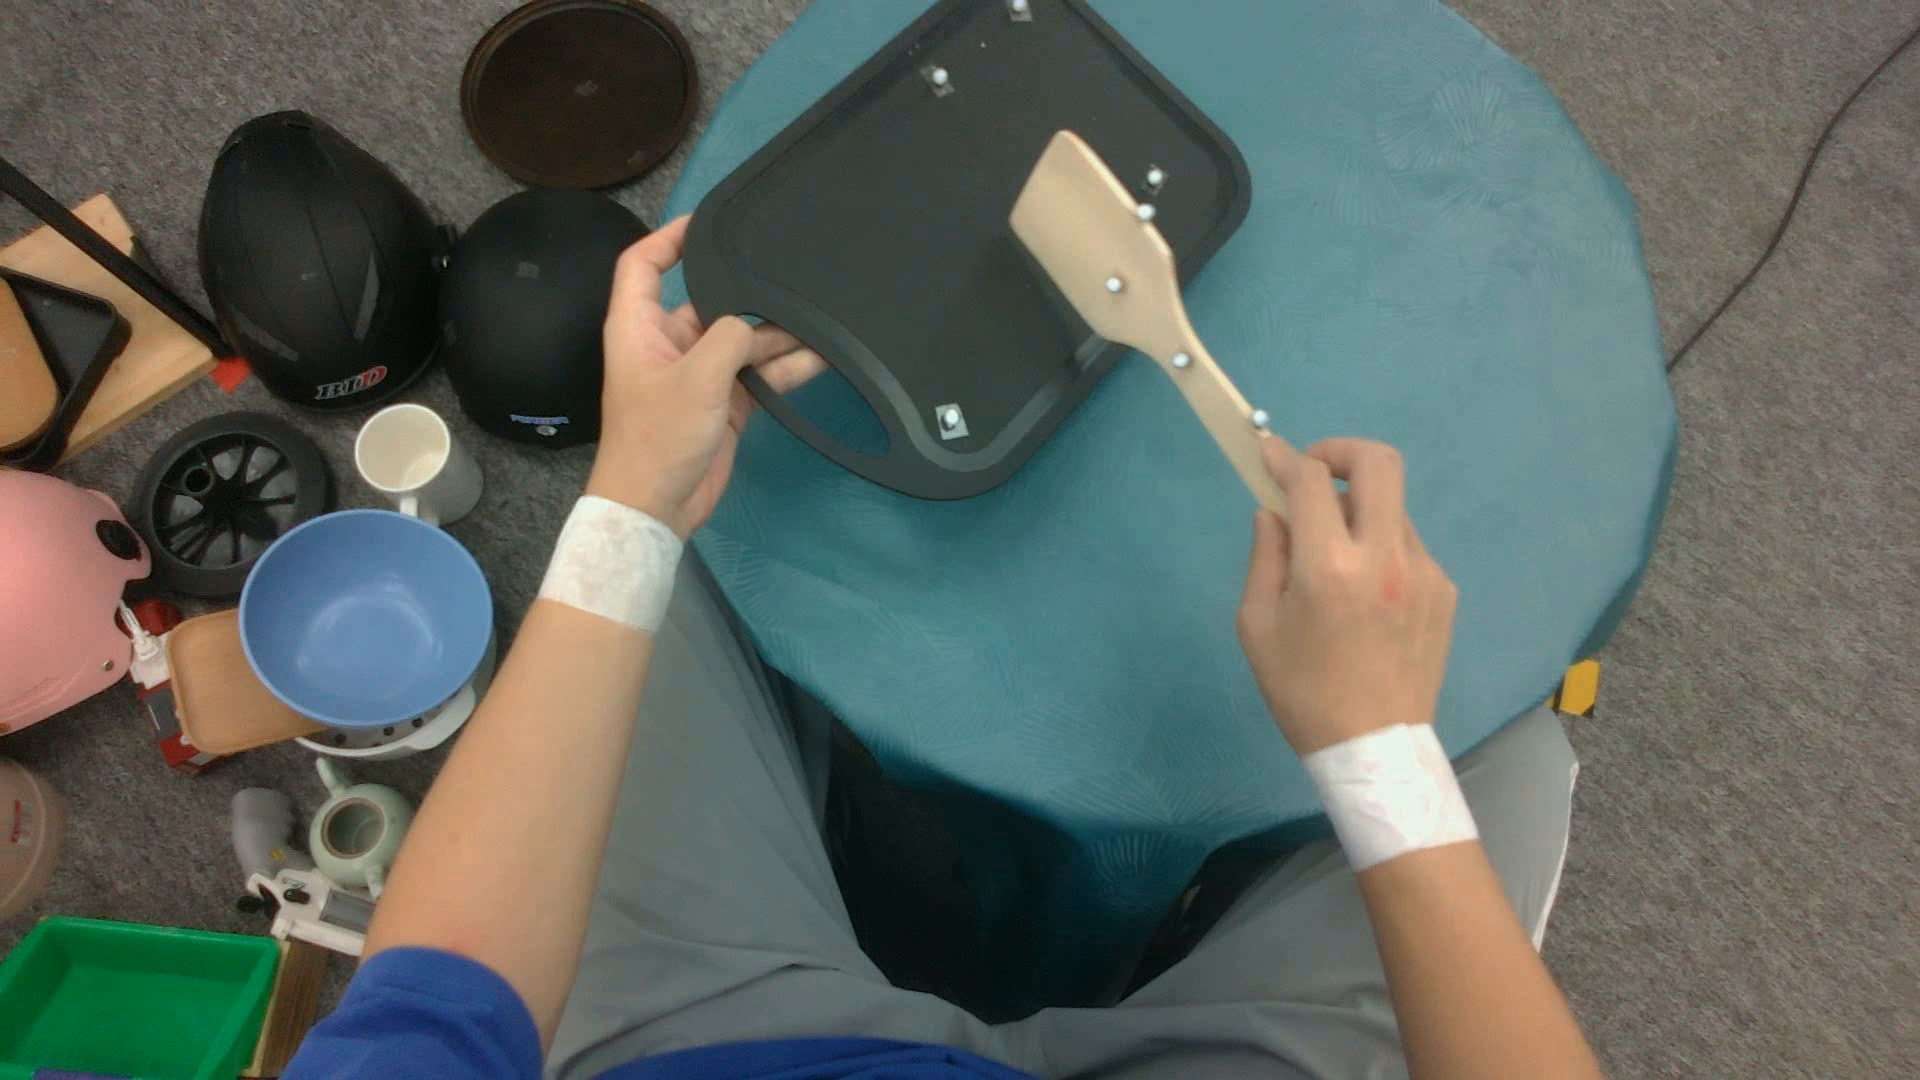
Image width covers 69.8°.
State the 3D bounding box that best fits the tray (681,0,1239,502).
[{"bbox_3d":[0.008,-0.169,0.746,0.211,0.010,0.327,42,65,0],"label":"tray"}]

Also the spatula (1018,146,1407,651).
[{"bbox_3d":[0.124,-0.069,0.680,0.011,0.072,0.293,-24,72,-35],"label":"spatula"}]
